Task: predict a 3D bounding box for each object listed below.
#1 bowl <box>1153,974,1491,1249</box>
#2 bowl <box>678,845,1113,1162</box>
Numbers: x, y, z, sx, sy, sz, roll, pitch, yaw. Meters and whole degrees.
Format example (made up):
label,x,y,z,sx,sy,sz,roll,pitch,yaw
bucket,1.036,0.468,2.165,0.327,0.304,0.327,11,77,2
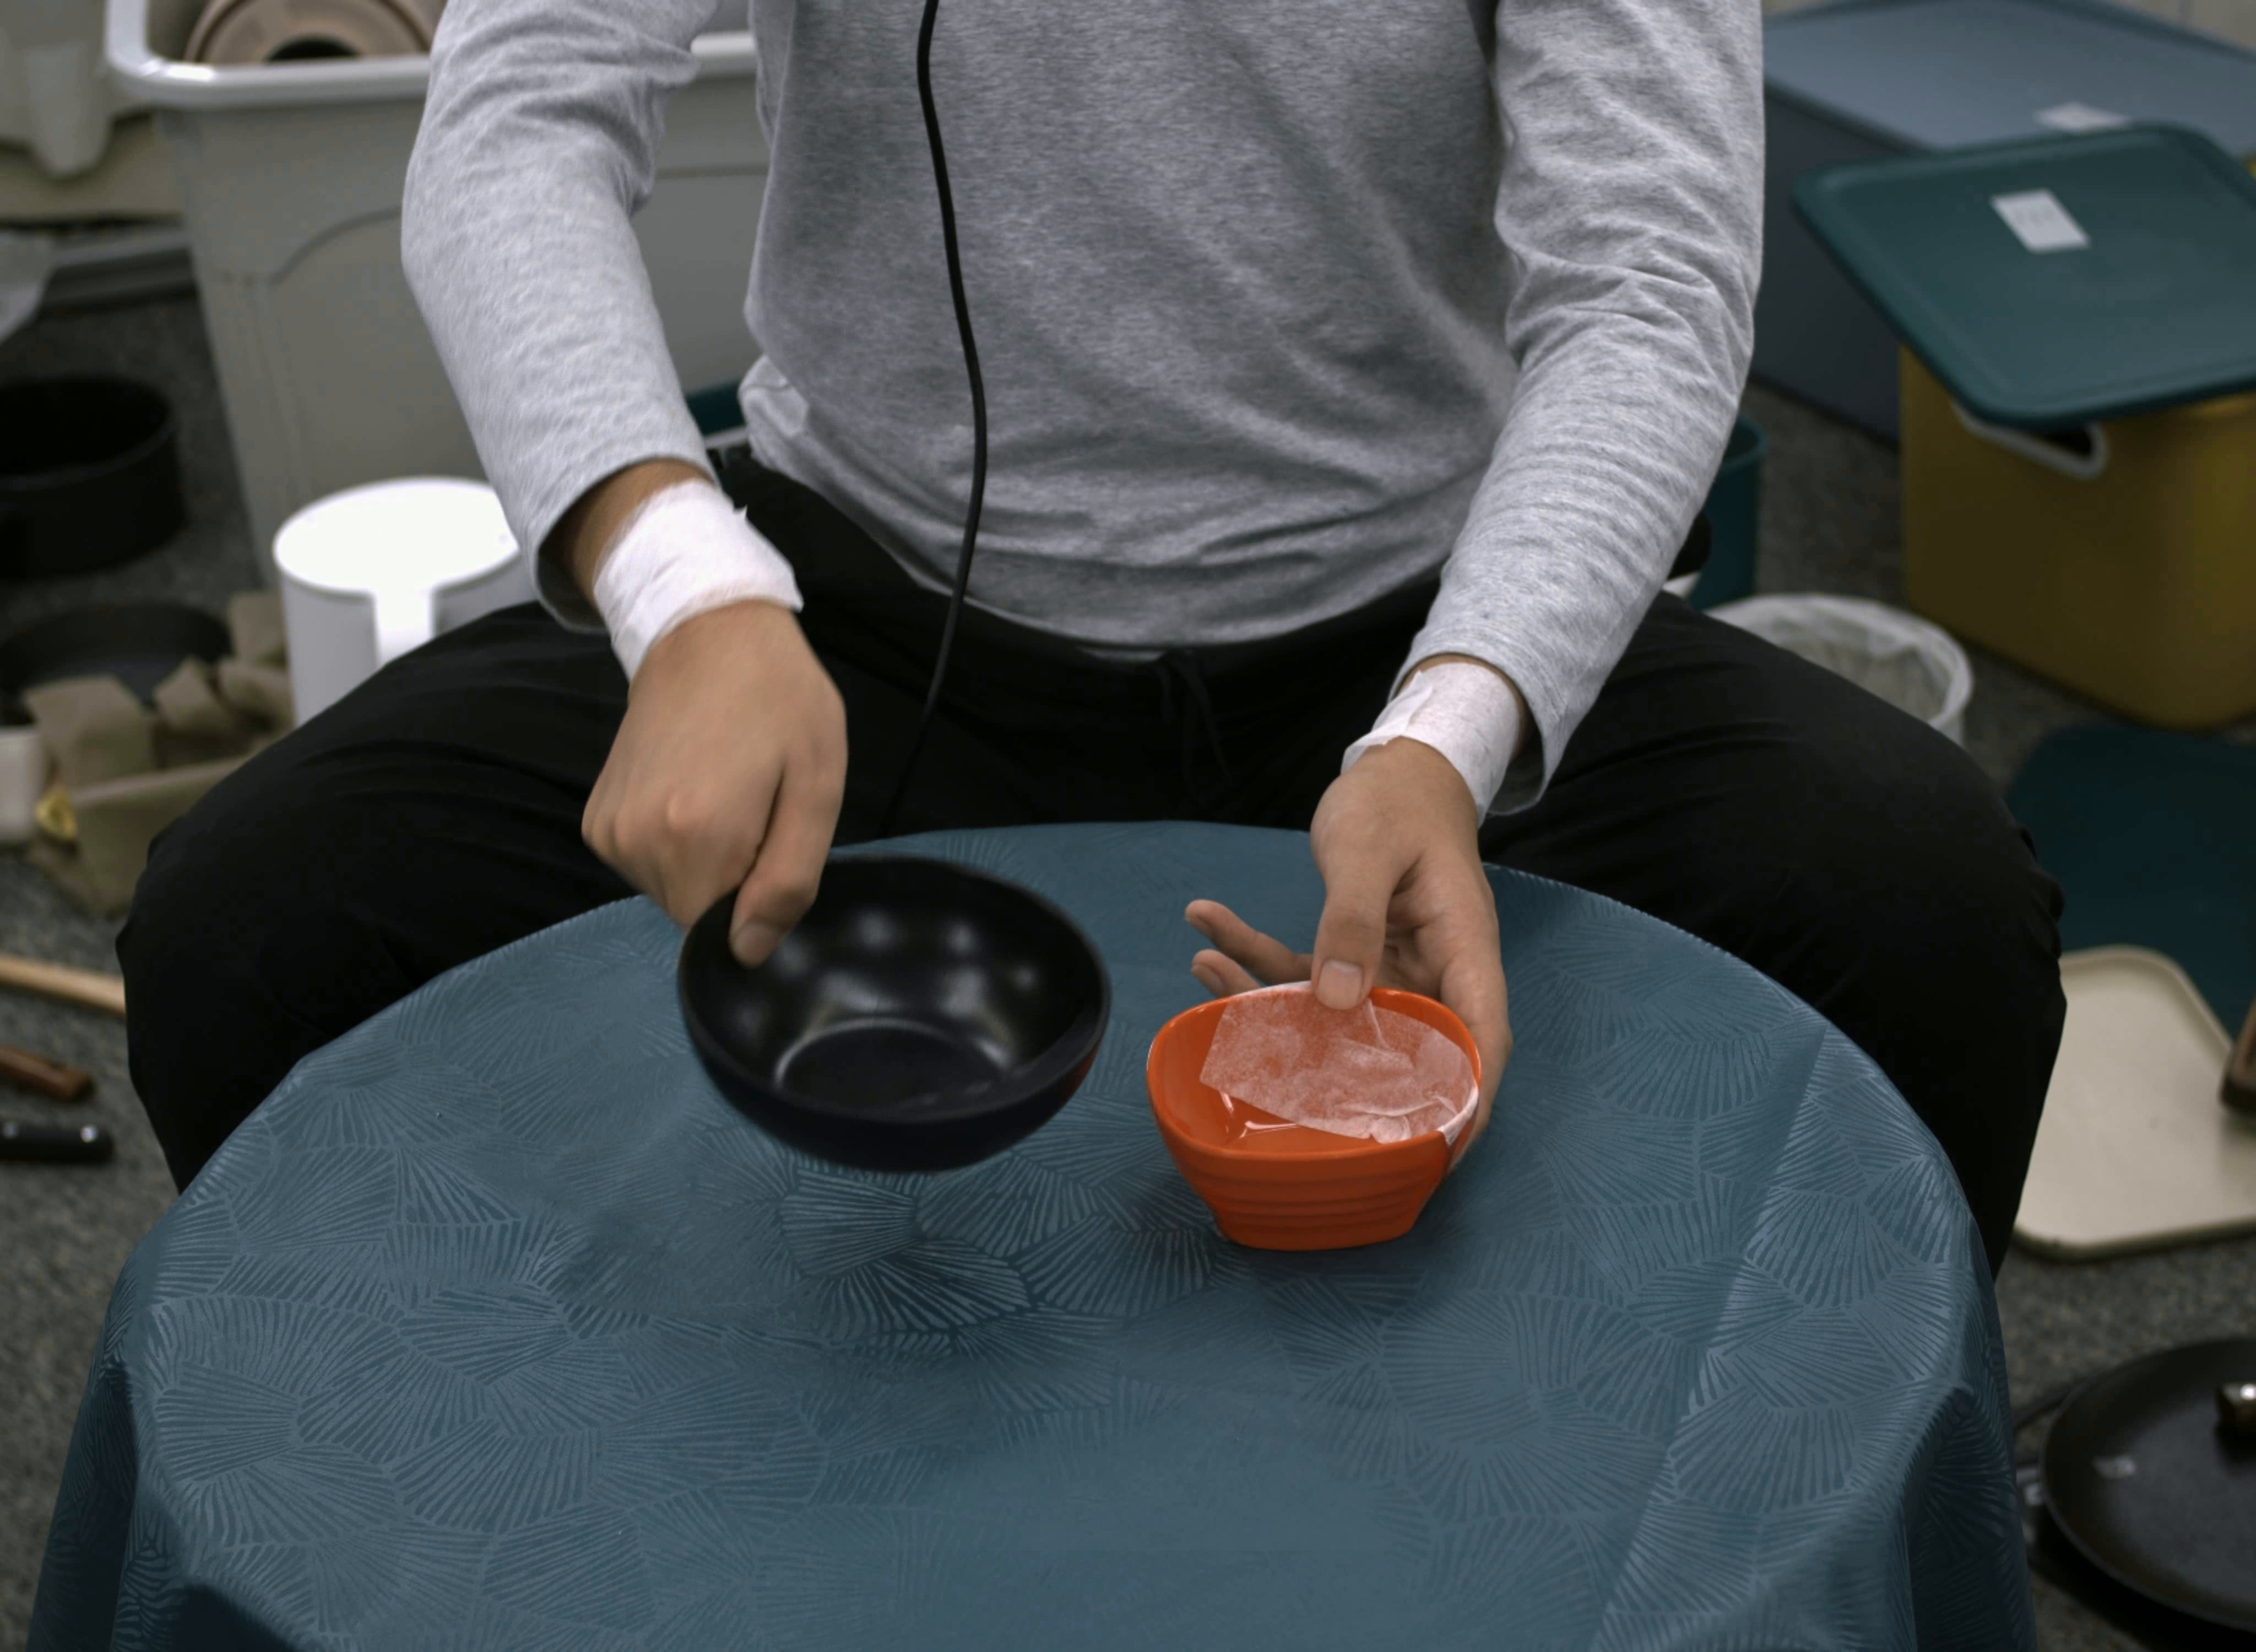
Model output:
label,x,y,z,sx,sy,sz,roll,pitch,yaw
bowl,0.064,0.098,1.840,0.118,0.051,0.121,-3,30,2
bowl,-0.076,0.065,1.789,0.139,0.049,0.142,6,33,-4
